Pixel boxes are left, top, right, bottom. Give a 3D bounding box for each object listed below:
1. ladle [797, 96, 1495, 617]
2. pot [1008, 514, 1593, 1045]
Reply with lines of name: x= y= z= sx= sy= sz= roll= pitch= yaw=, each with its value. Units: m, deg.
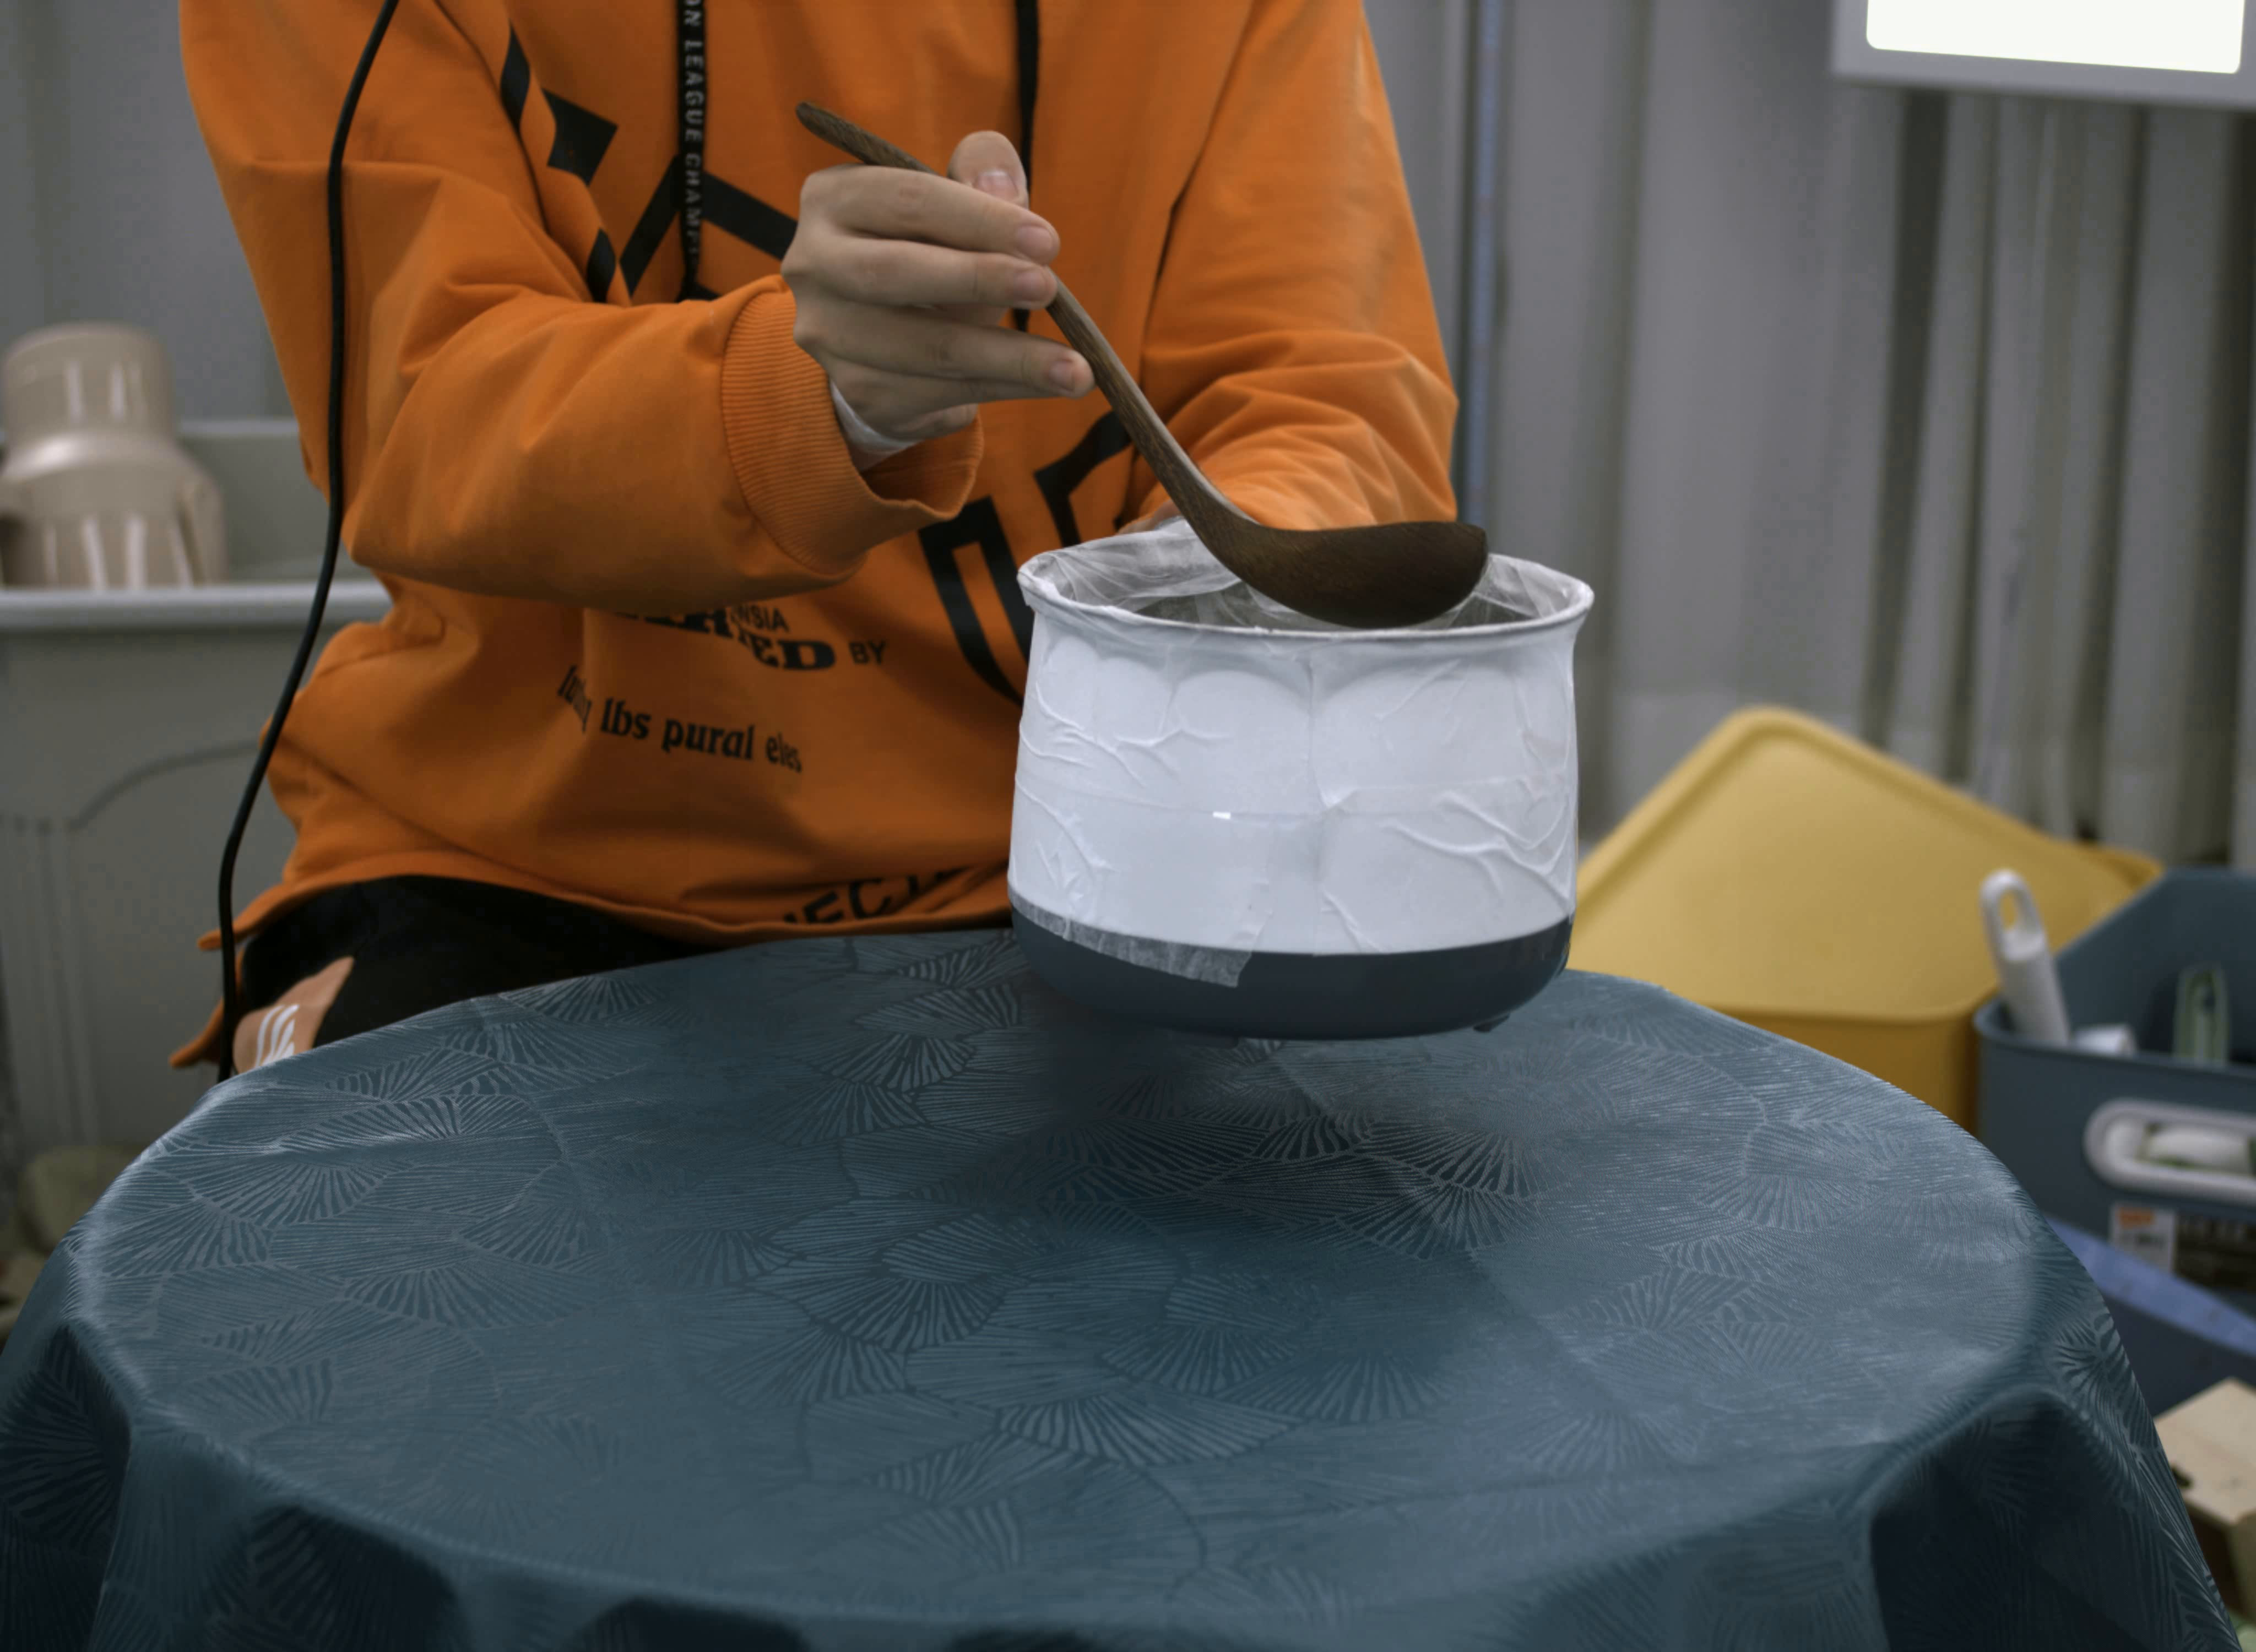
ladle: x=0.005 y=-0.159 z=1.655 sx=0.272 sy=0.071 sz=0.076 roll=48 pitch=5 yaw=17
pot: x=0.041 y=-0.019 z=1.647 sx=0.179 sy=0.137 sz=0.231 roll=-3 pitch=13 yaw=-24
